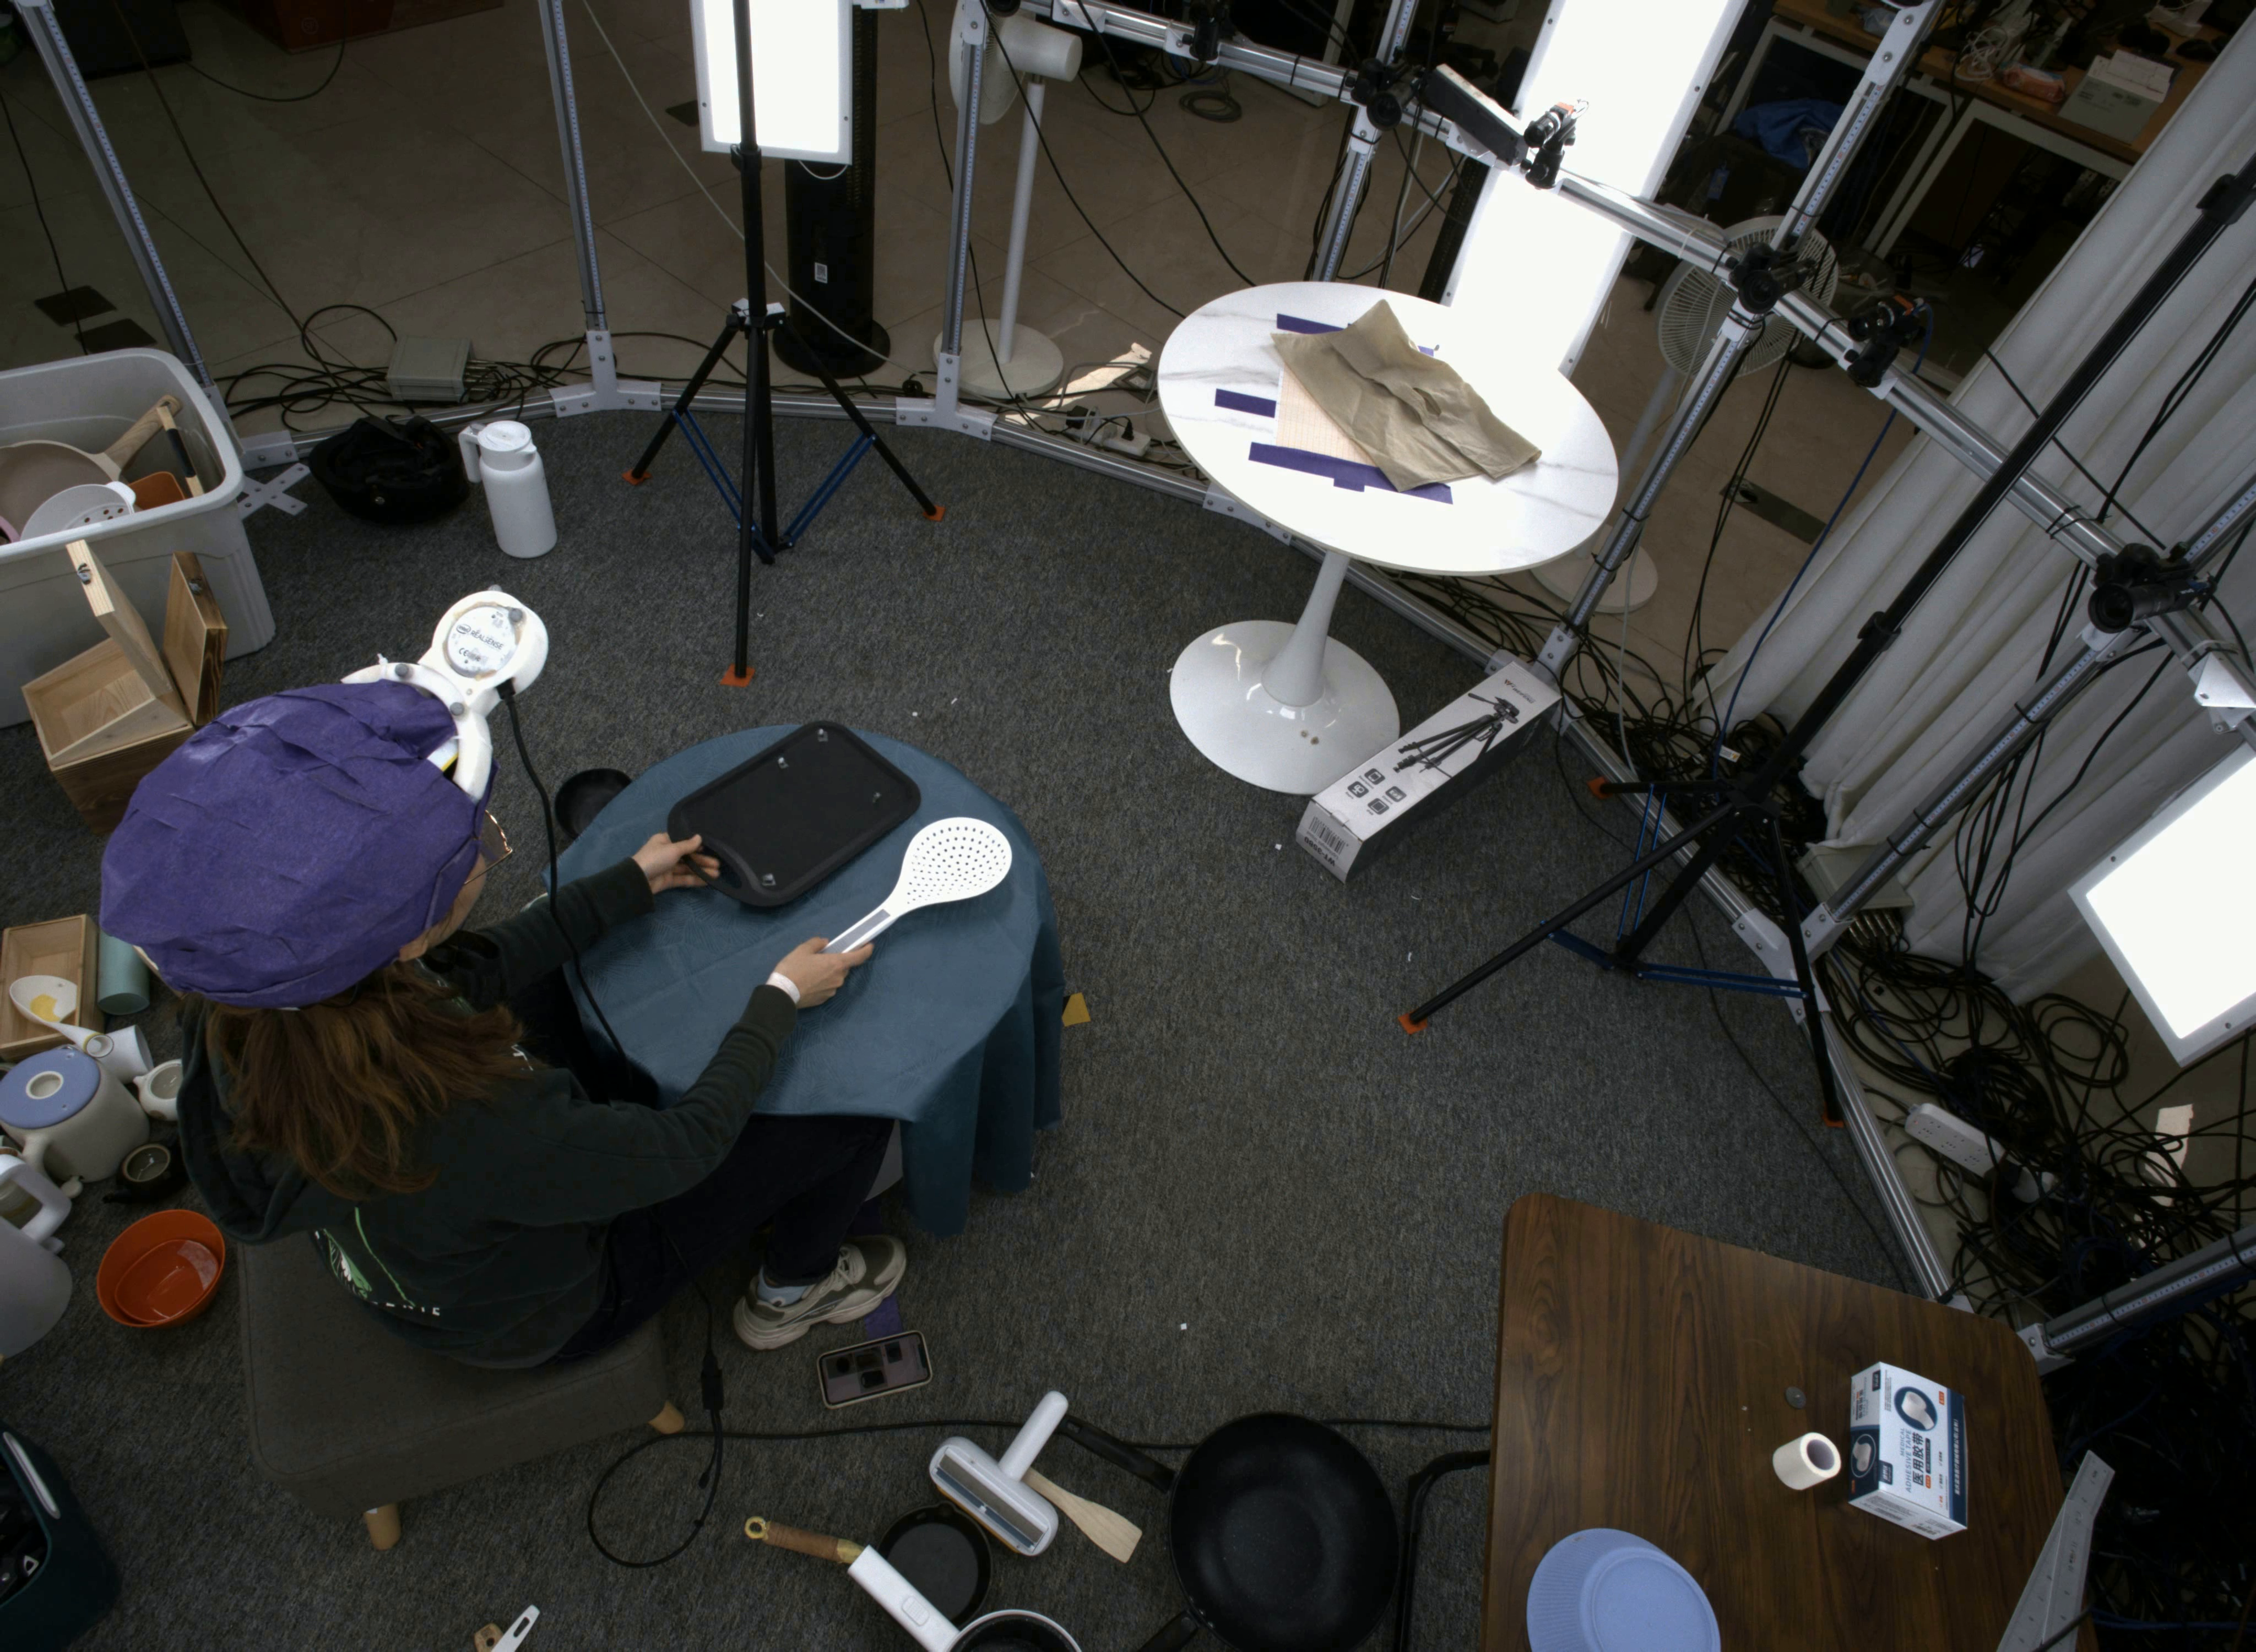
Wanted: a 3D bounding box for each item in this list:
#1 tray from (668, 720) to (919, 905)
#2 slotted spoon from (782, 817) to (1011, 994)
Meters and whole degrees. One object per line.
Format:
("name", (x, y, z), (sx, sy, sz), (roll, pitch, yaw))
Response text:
("tray", (-0.444, -0.022, 1.717), (0.207, 0.010, 0.326), (38, 49, 13))
("slotted spoon", (-0.293, 0.100, 1.649), (0.132, 0.047, 0.350), (36, 50, 23))
